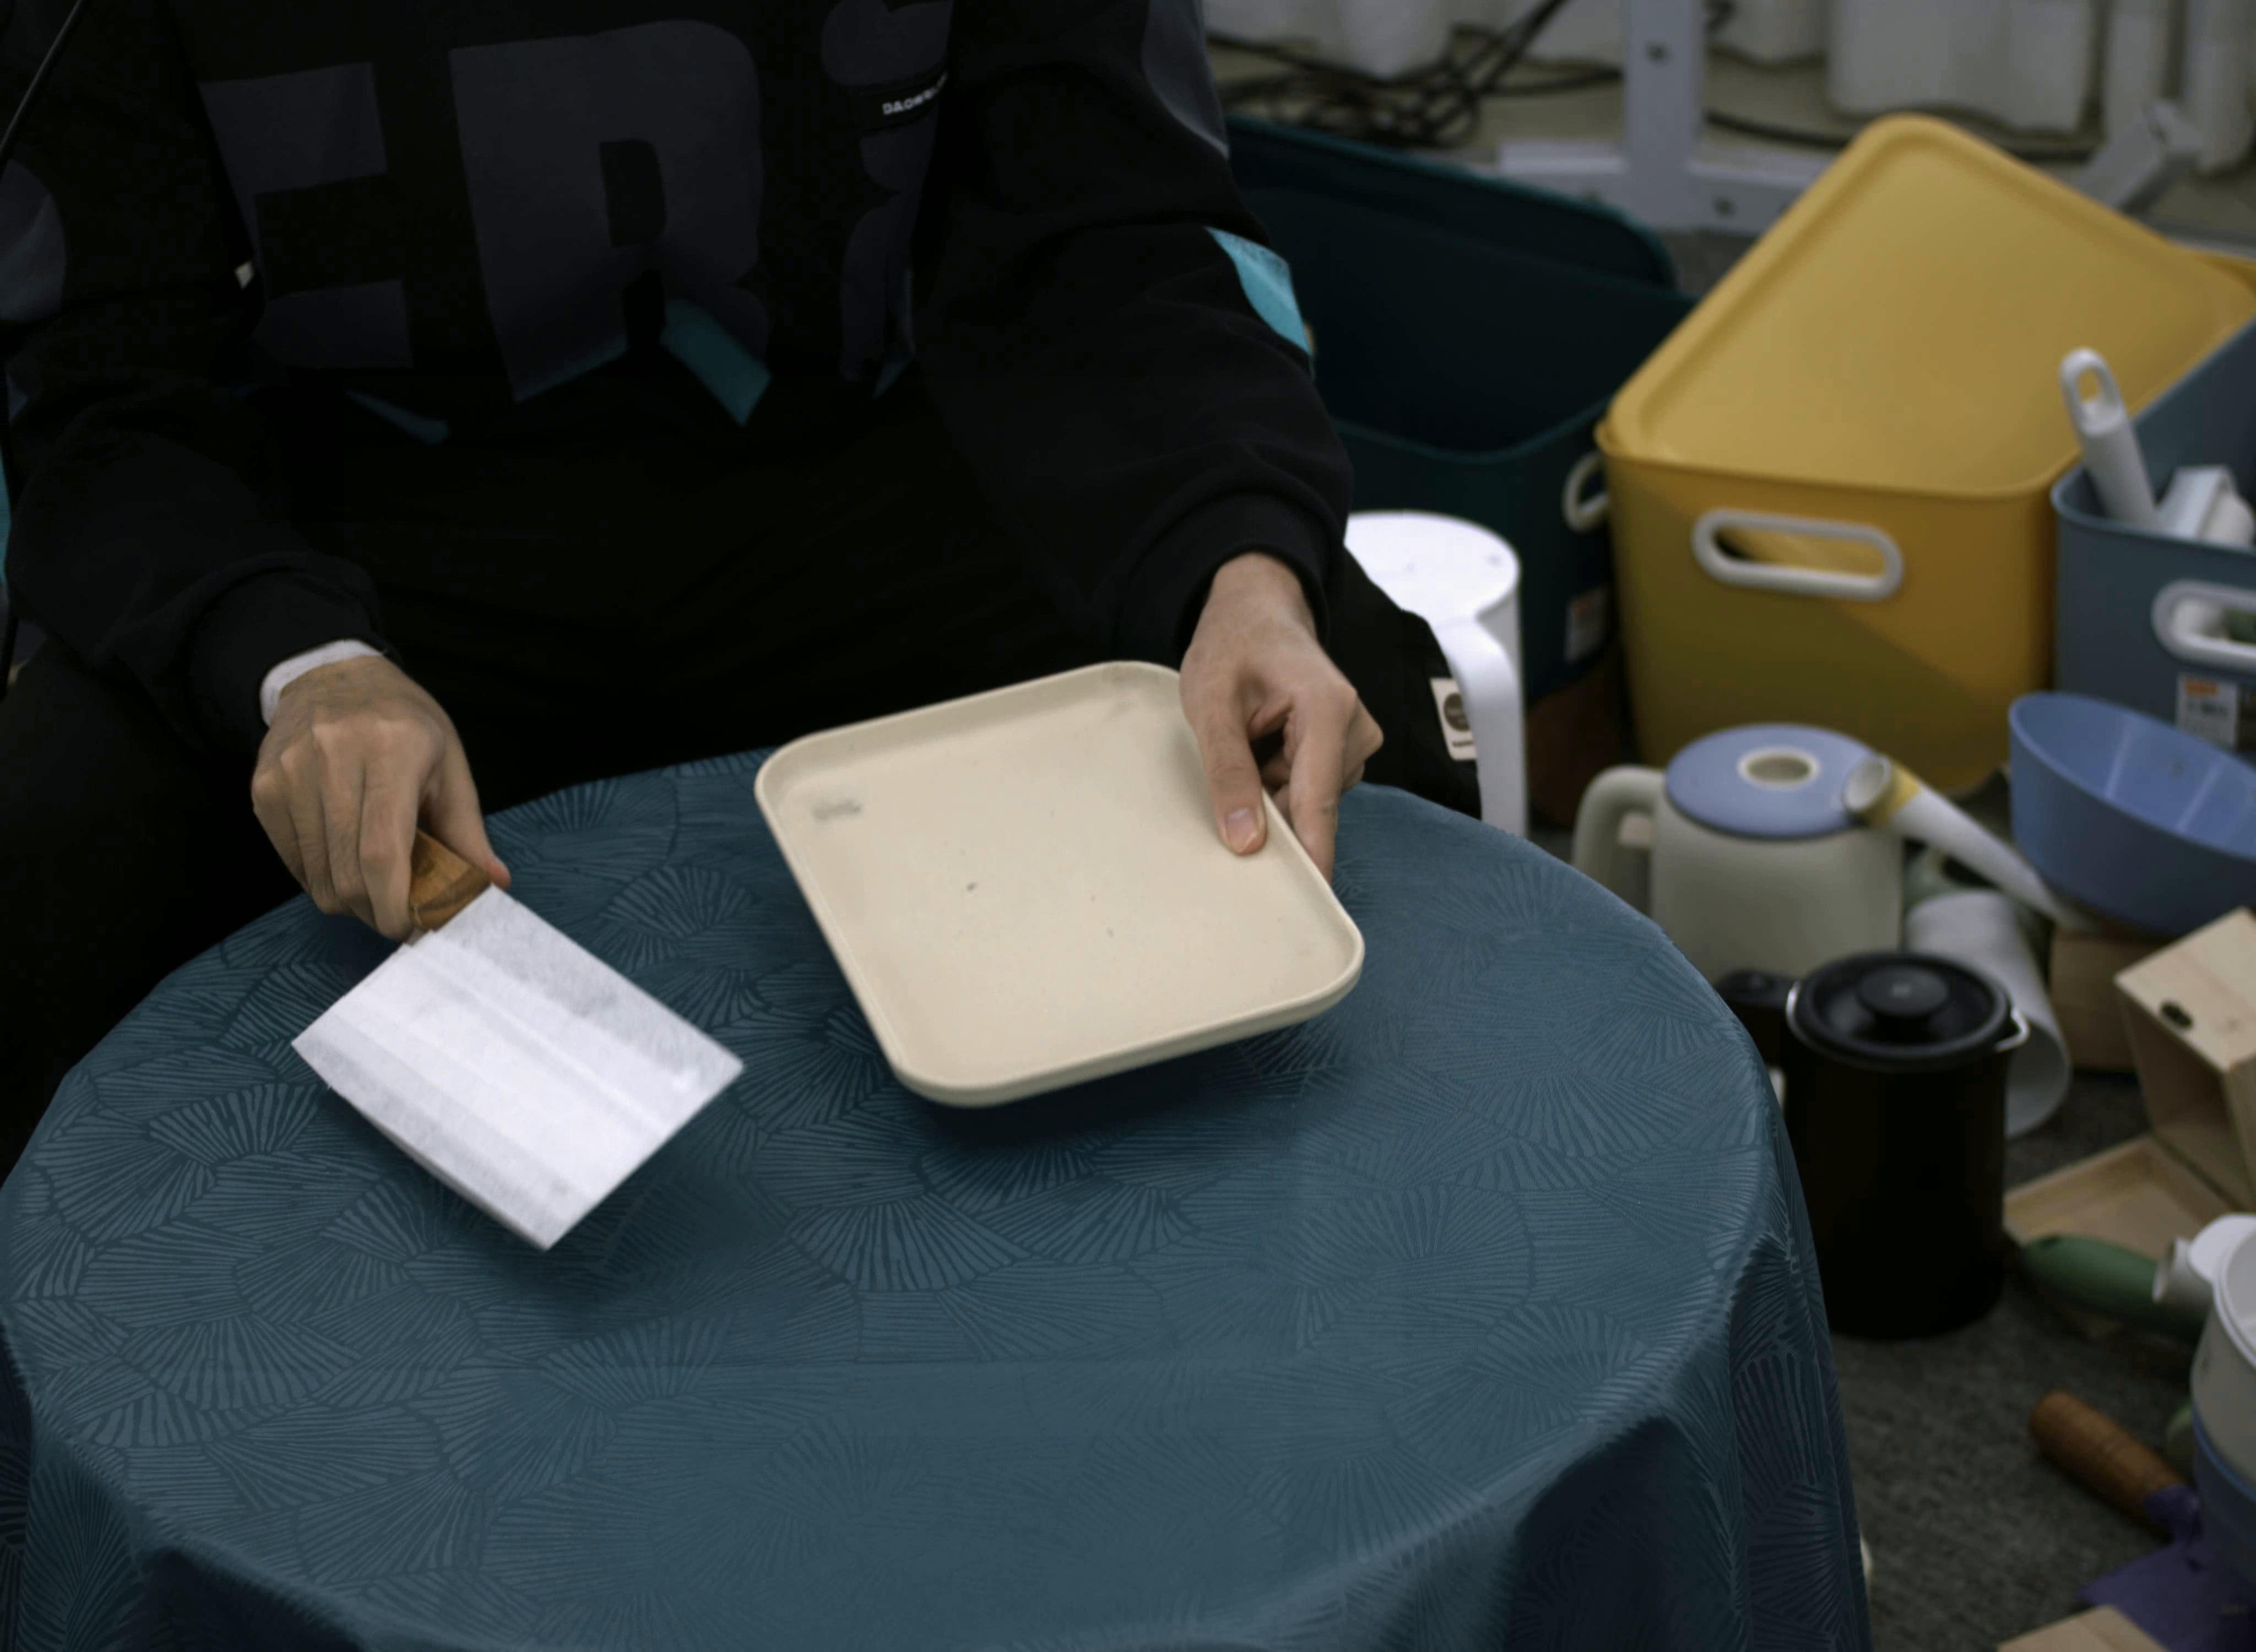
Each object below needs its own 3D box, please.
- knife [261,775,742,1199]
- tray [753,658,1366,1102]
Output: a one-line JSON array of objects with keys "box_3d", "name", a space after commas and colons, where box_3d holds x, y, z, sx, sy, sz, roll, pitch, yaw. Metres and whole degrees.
[{"box_3d": [-0.236, 0.056, 1.923, 0.094, 0.021, 0.306, -43, 37, -14], "name": "knife"}, {"box_3d": [-0.027, 0.017, 1.977, 0.171, 0.017, 0.242, -14, 33, -12], "name": "tray"}]
